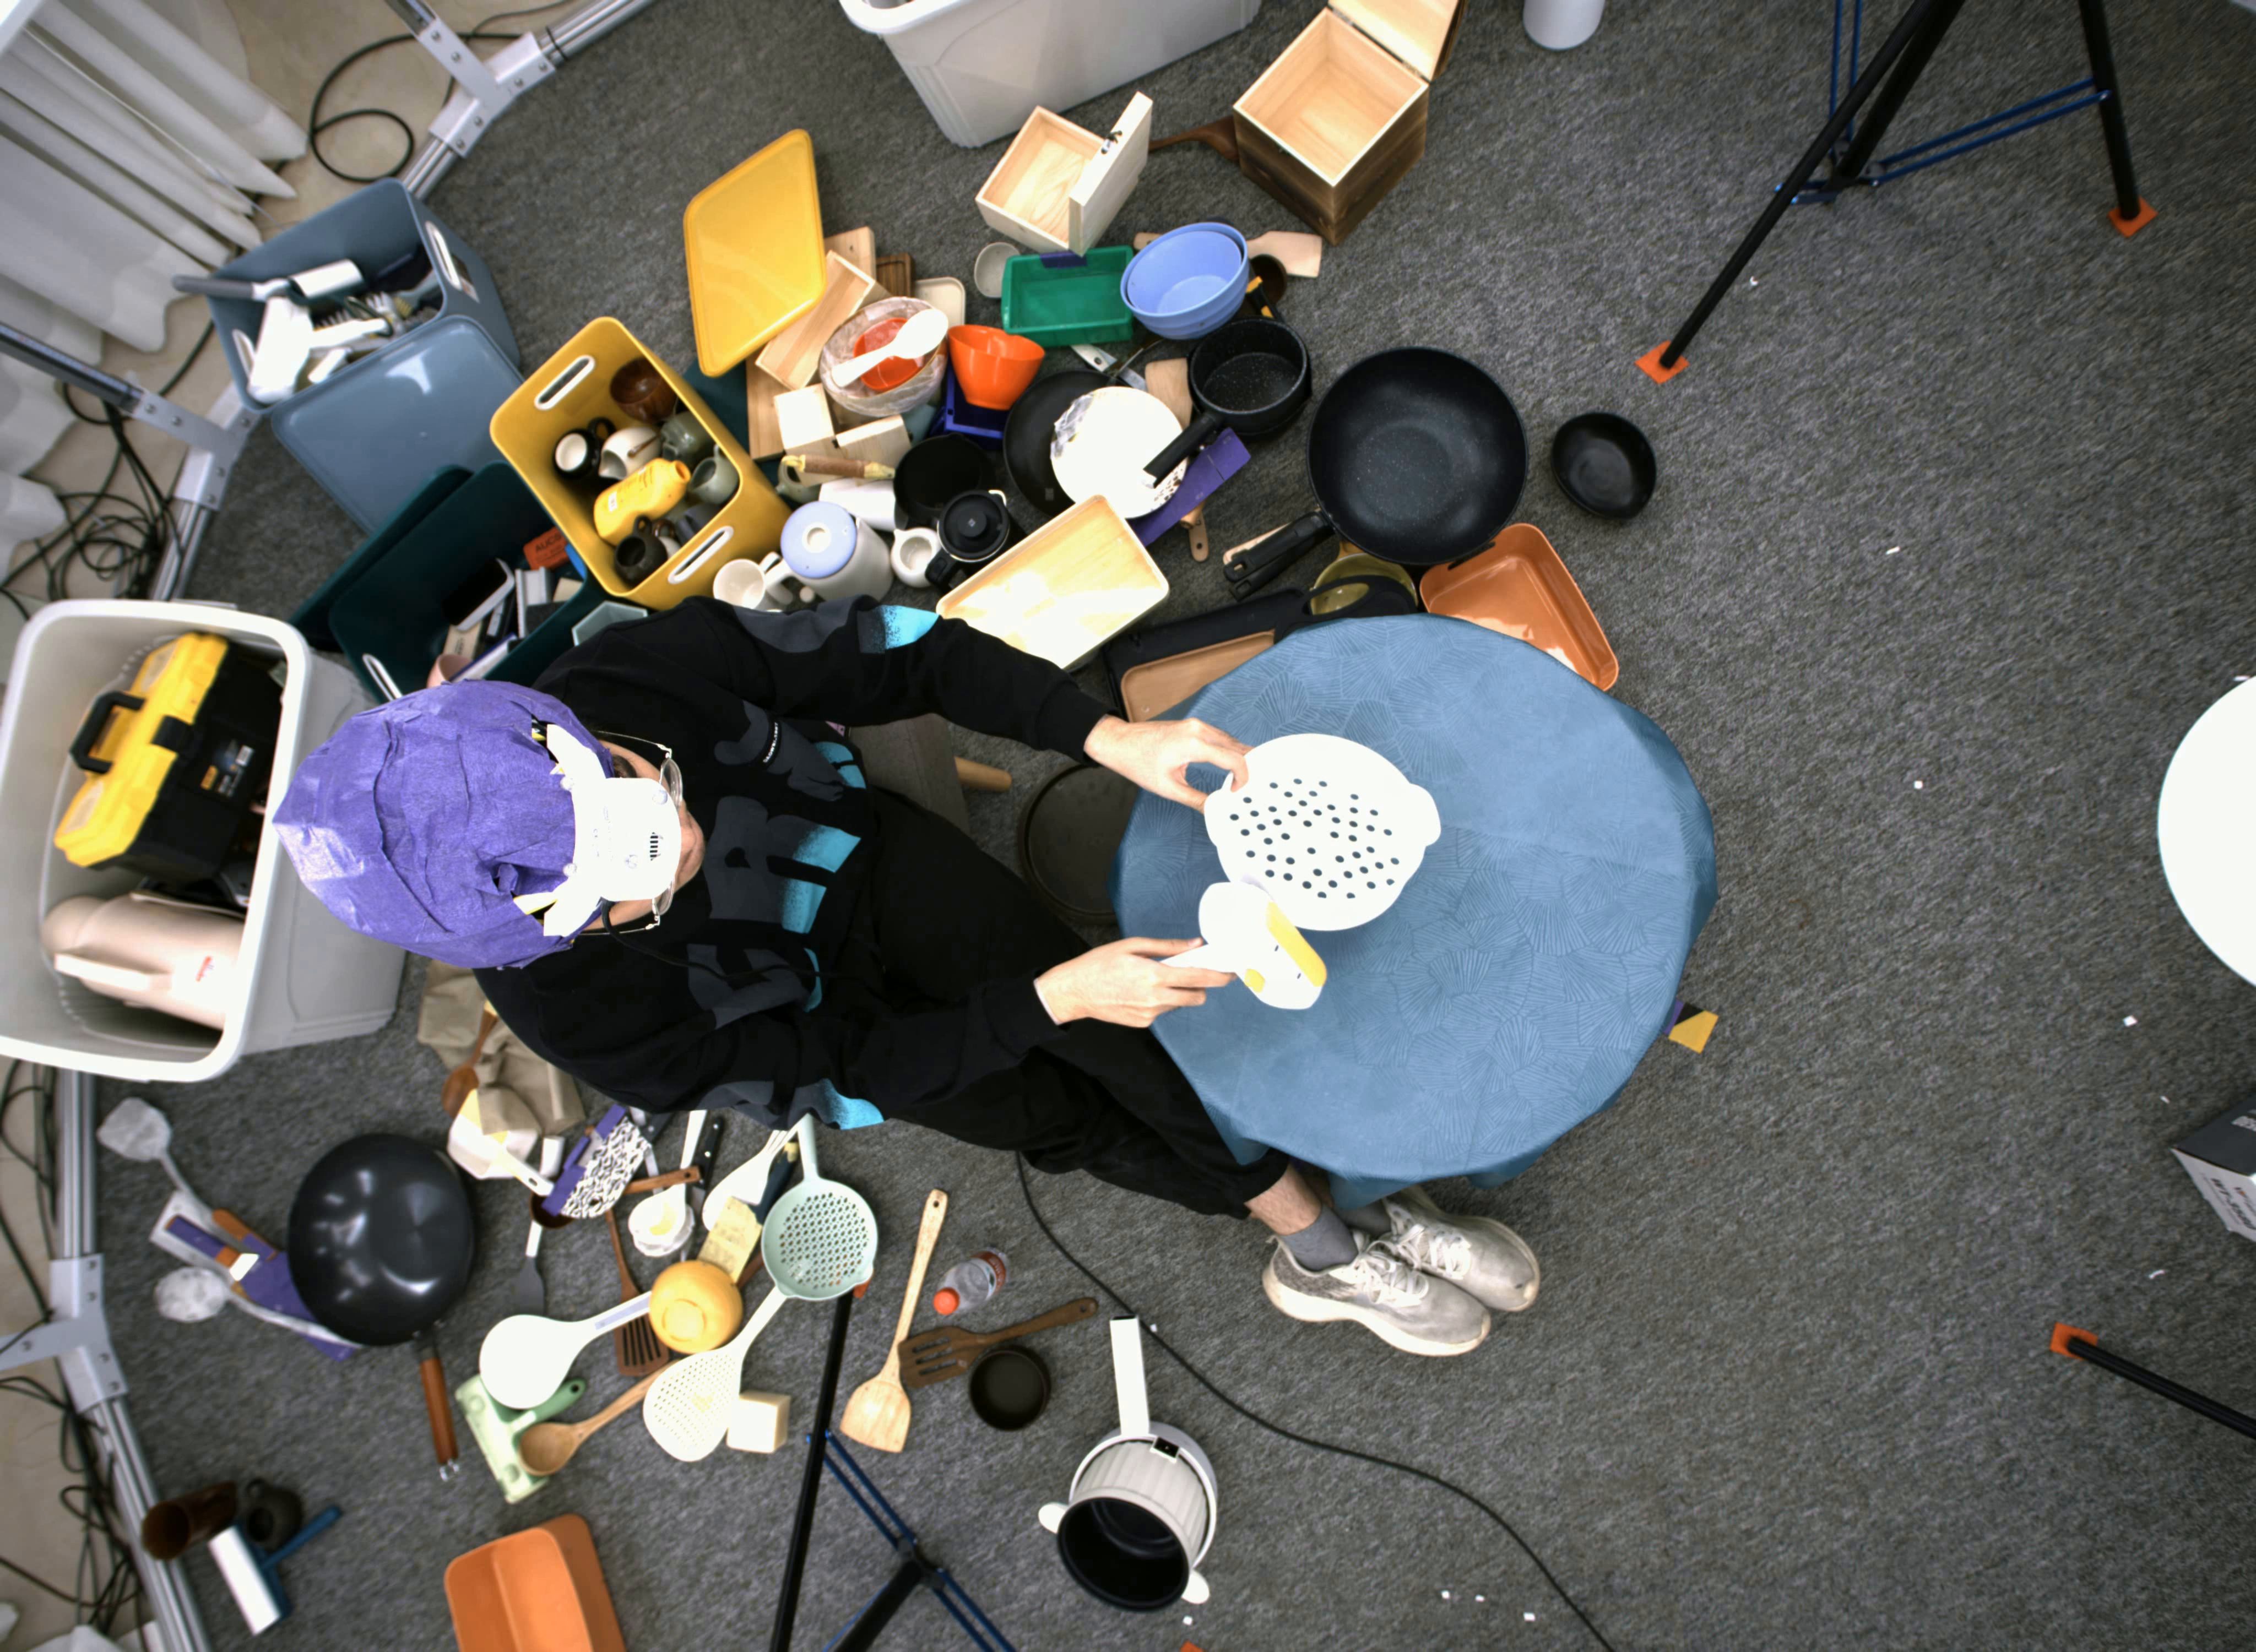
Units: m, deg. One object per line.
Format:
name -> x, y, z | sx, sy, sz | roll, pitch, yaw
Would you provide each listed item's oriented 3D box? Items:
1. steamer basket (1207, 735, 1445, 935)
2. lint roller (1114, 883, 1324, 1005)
steamer basket -> 0.189, 0.007, 1.344 | 0.230, 0.071, 0.197 | -3, 57, -5
lint roller -> 0.073, 0.129, 1.339 | 0.195, 0.195, 0.072 | -12, 59, 30
